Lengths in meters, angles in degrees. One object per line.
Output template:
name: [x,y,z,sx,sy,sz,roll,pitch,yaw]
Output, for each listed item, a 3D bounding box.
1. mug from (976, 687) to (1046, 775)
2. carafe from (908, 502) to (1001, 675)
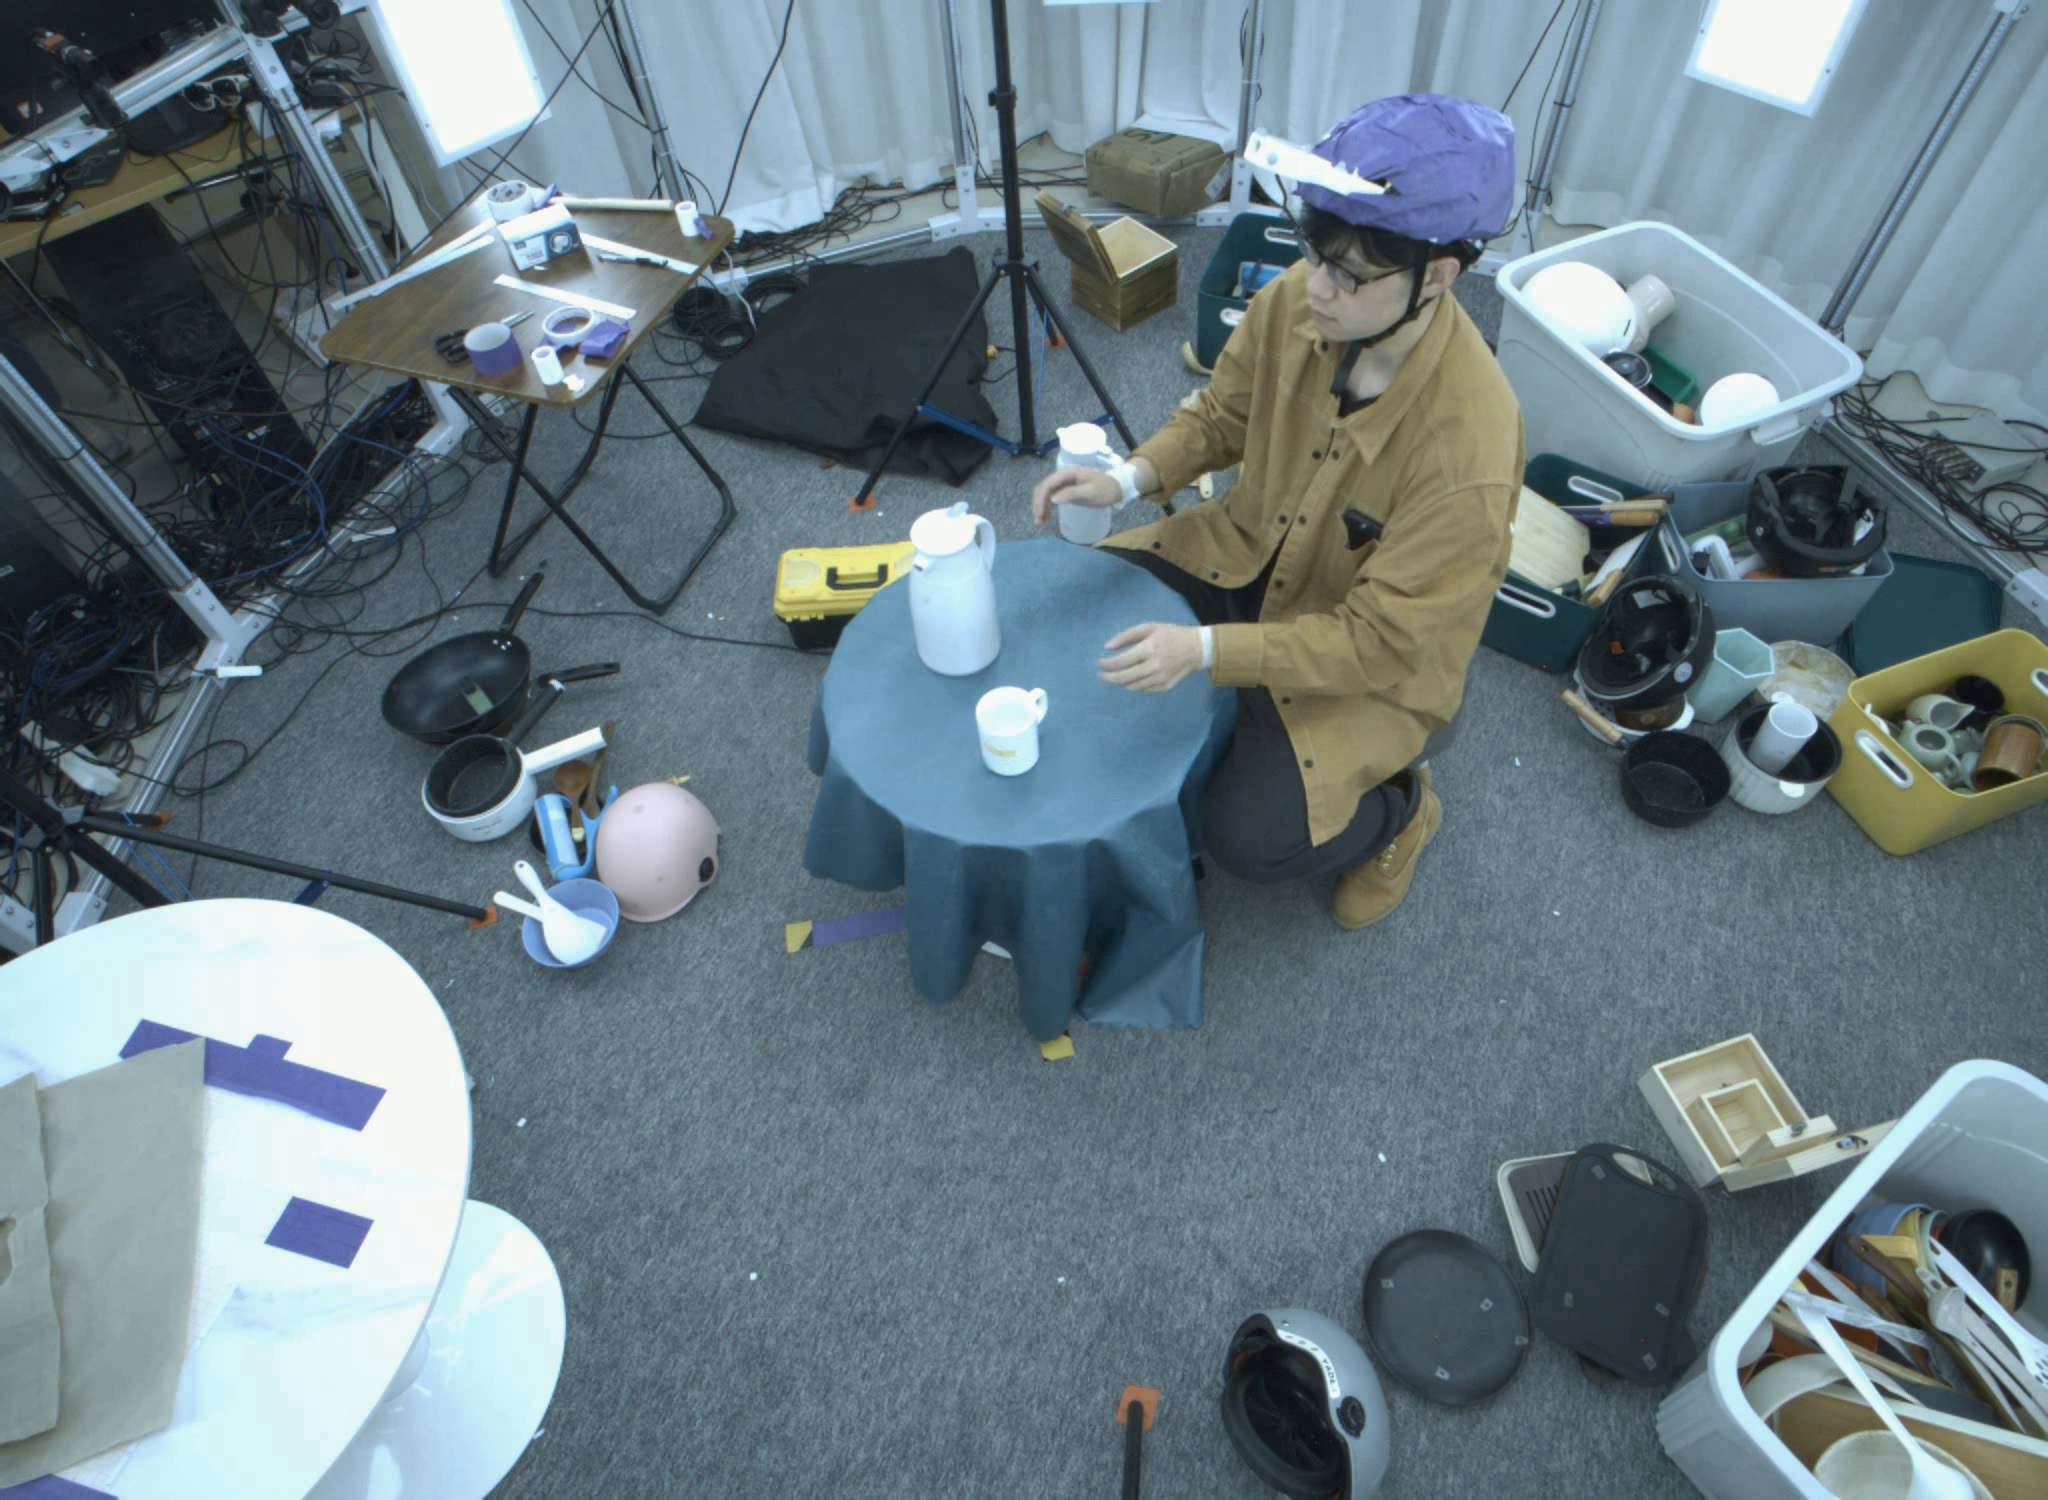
mug: [-0.012,-0.035,1.745,0.083,0.103,0.119,33,62,23]
carafe: [-0.100,-0.252,1.813,0.130,0.251,0.168,25,59,21]
